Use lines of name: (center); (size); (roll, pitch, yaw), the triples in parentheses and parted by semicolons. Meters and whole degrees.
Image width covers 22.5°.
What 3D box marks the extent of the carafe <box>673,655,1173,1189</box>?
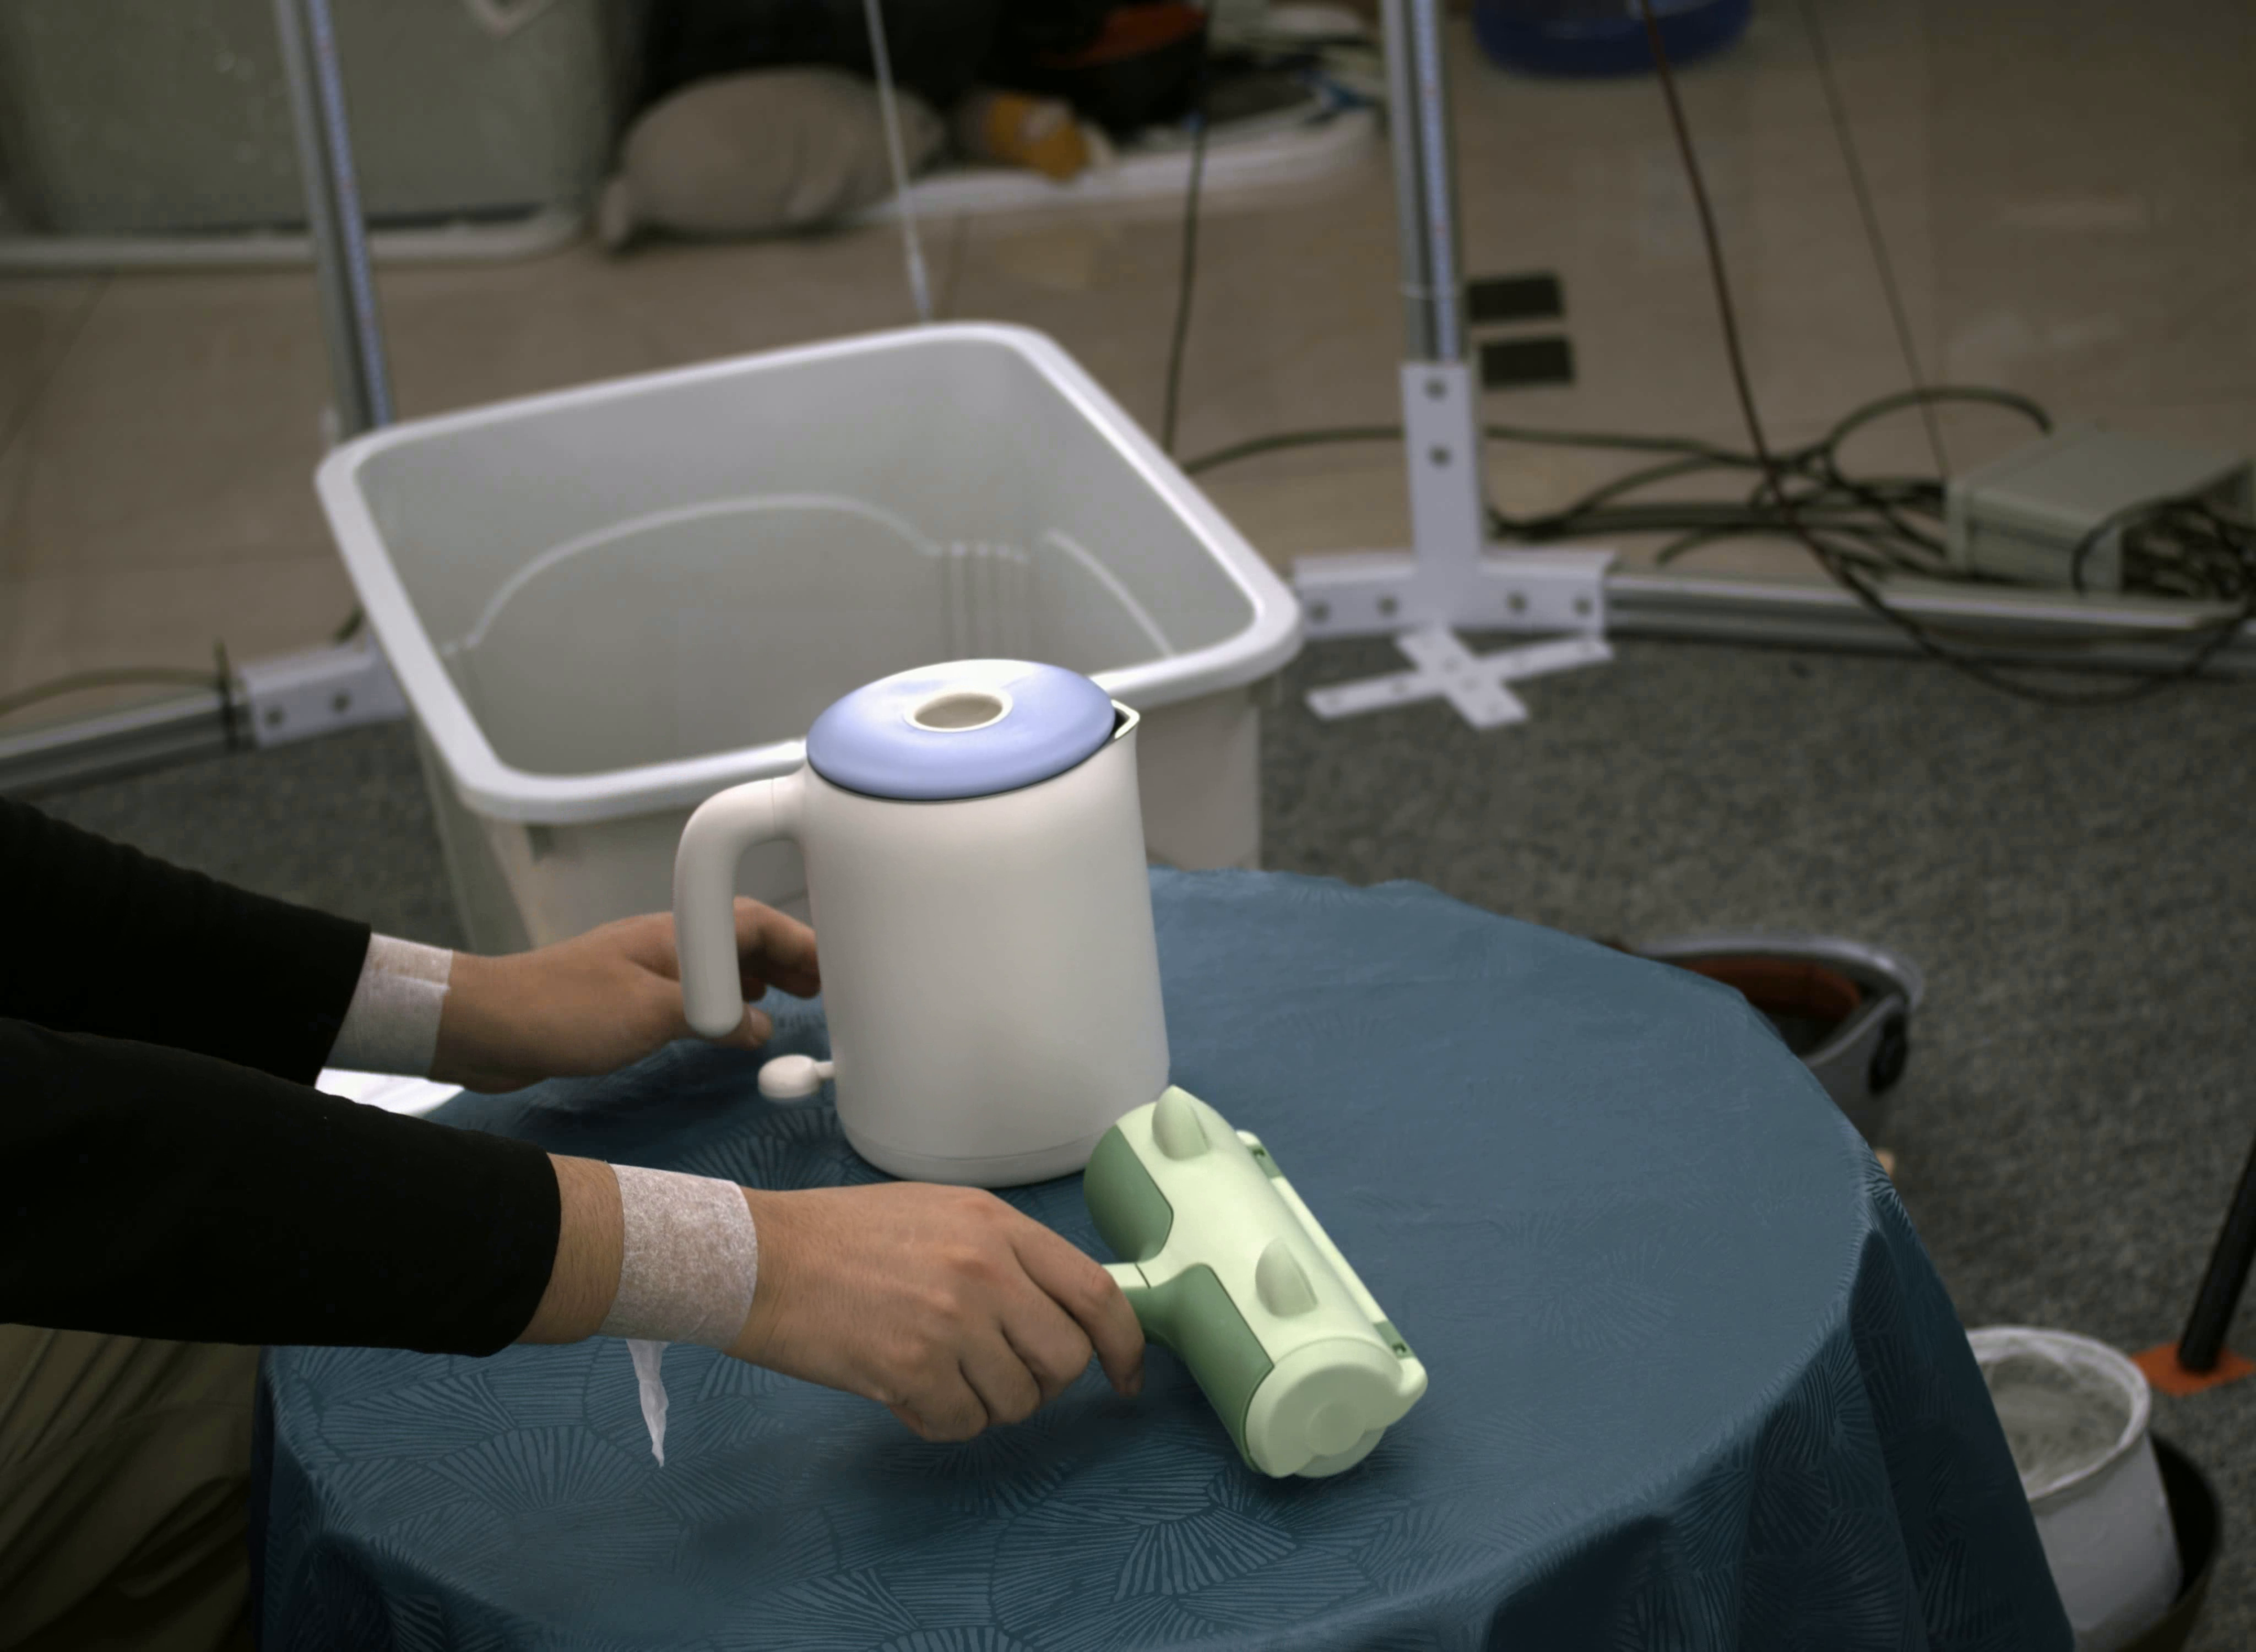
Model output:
carafe: (-0.080, 0.040, 2.174); (0.191, 0.185, 0.130); (-9, 25, 0)

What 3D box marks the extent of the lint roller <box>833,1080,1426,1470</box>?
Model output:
lint roller: (-0.012, 0.153, 1.985); (0.183, 0.083, 0.196); (-1, 25, -19)
